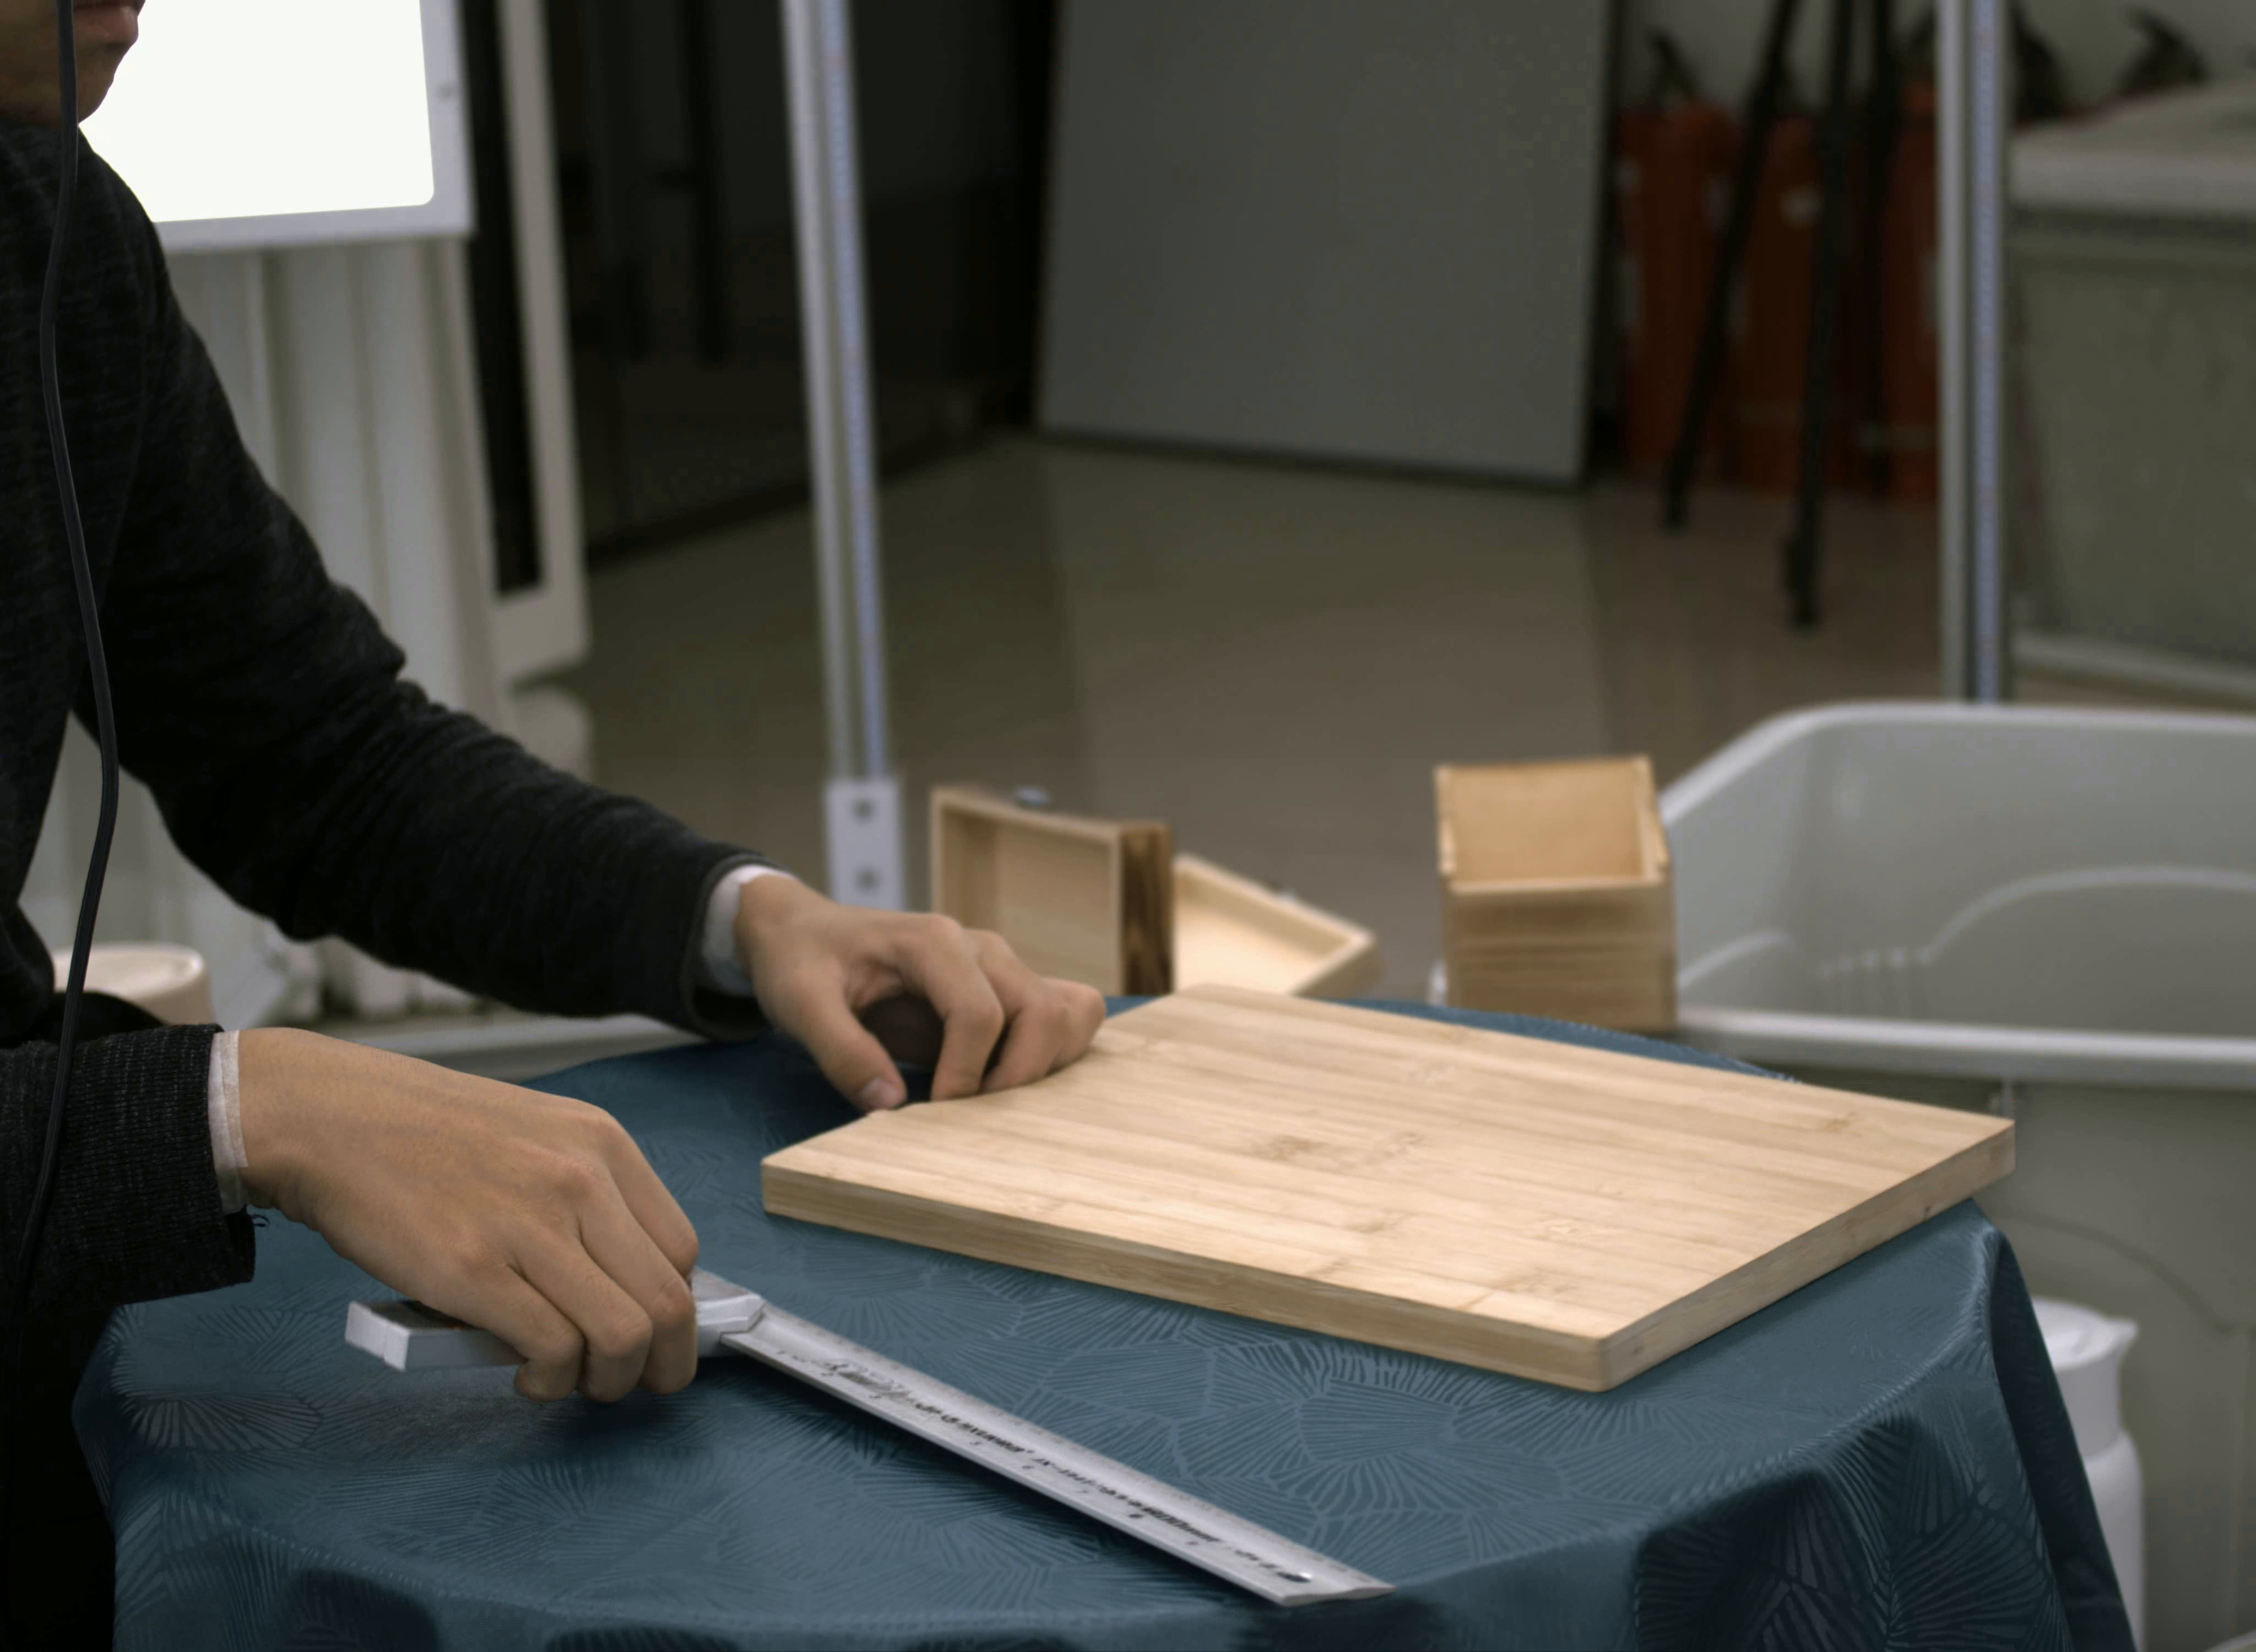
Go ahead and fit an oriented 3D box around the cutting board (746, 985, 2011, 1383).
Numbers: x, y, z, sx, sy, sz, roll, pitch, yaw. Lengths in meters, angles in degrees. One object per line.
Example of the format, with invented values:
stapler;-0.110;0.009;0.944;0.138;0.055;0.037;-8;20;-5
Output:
cutting board;0.079;0.111;1.754;0.351;0.024;0.246;7;18;38

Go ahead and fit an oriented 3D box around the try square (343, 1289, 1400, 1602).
try square;-0.079;0.174;1.505;0.149;0.016;0.316;0;10;-37
